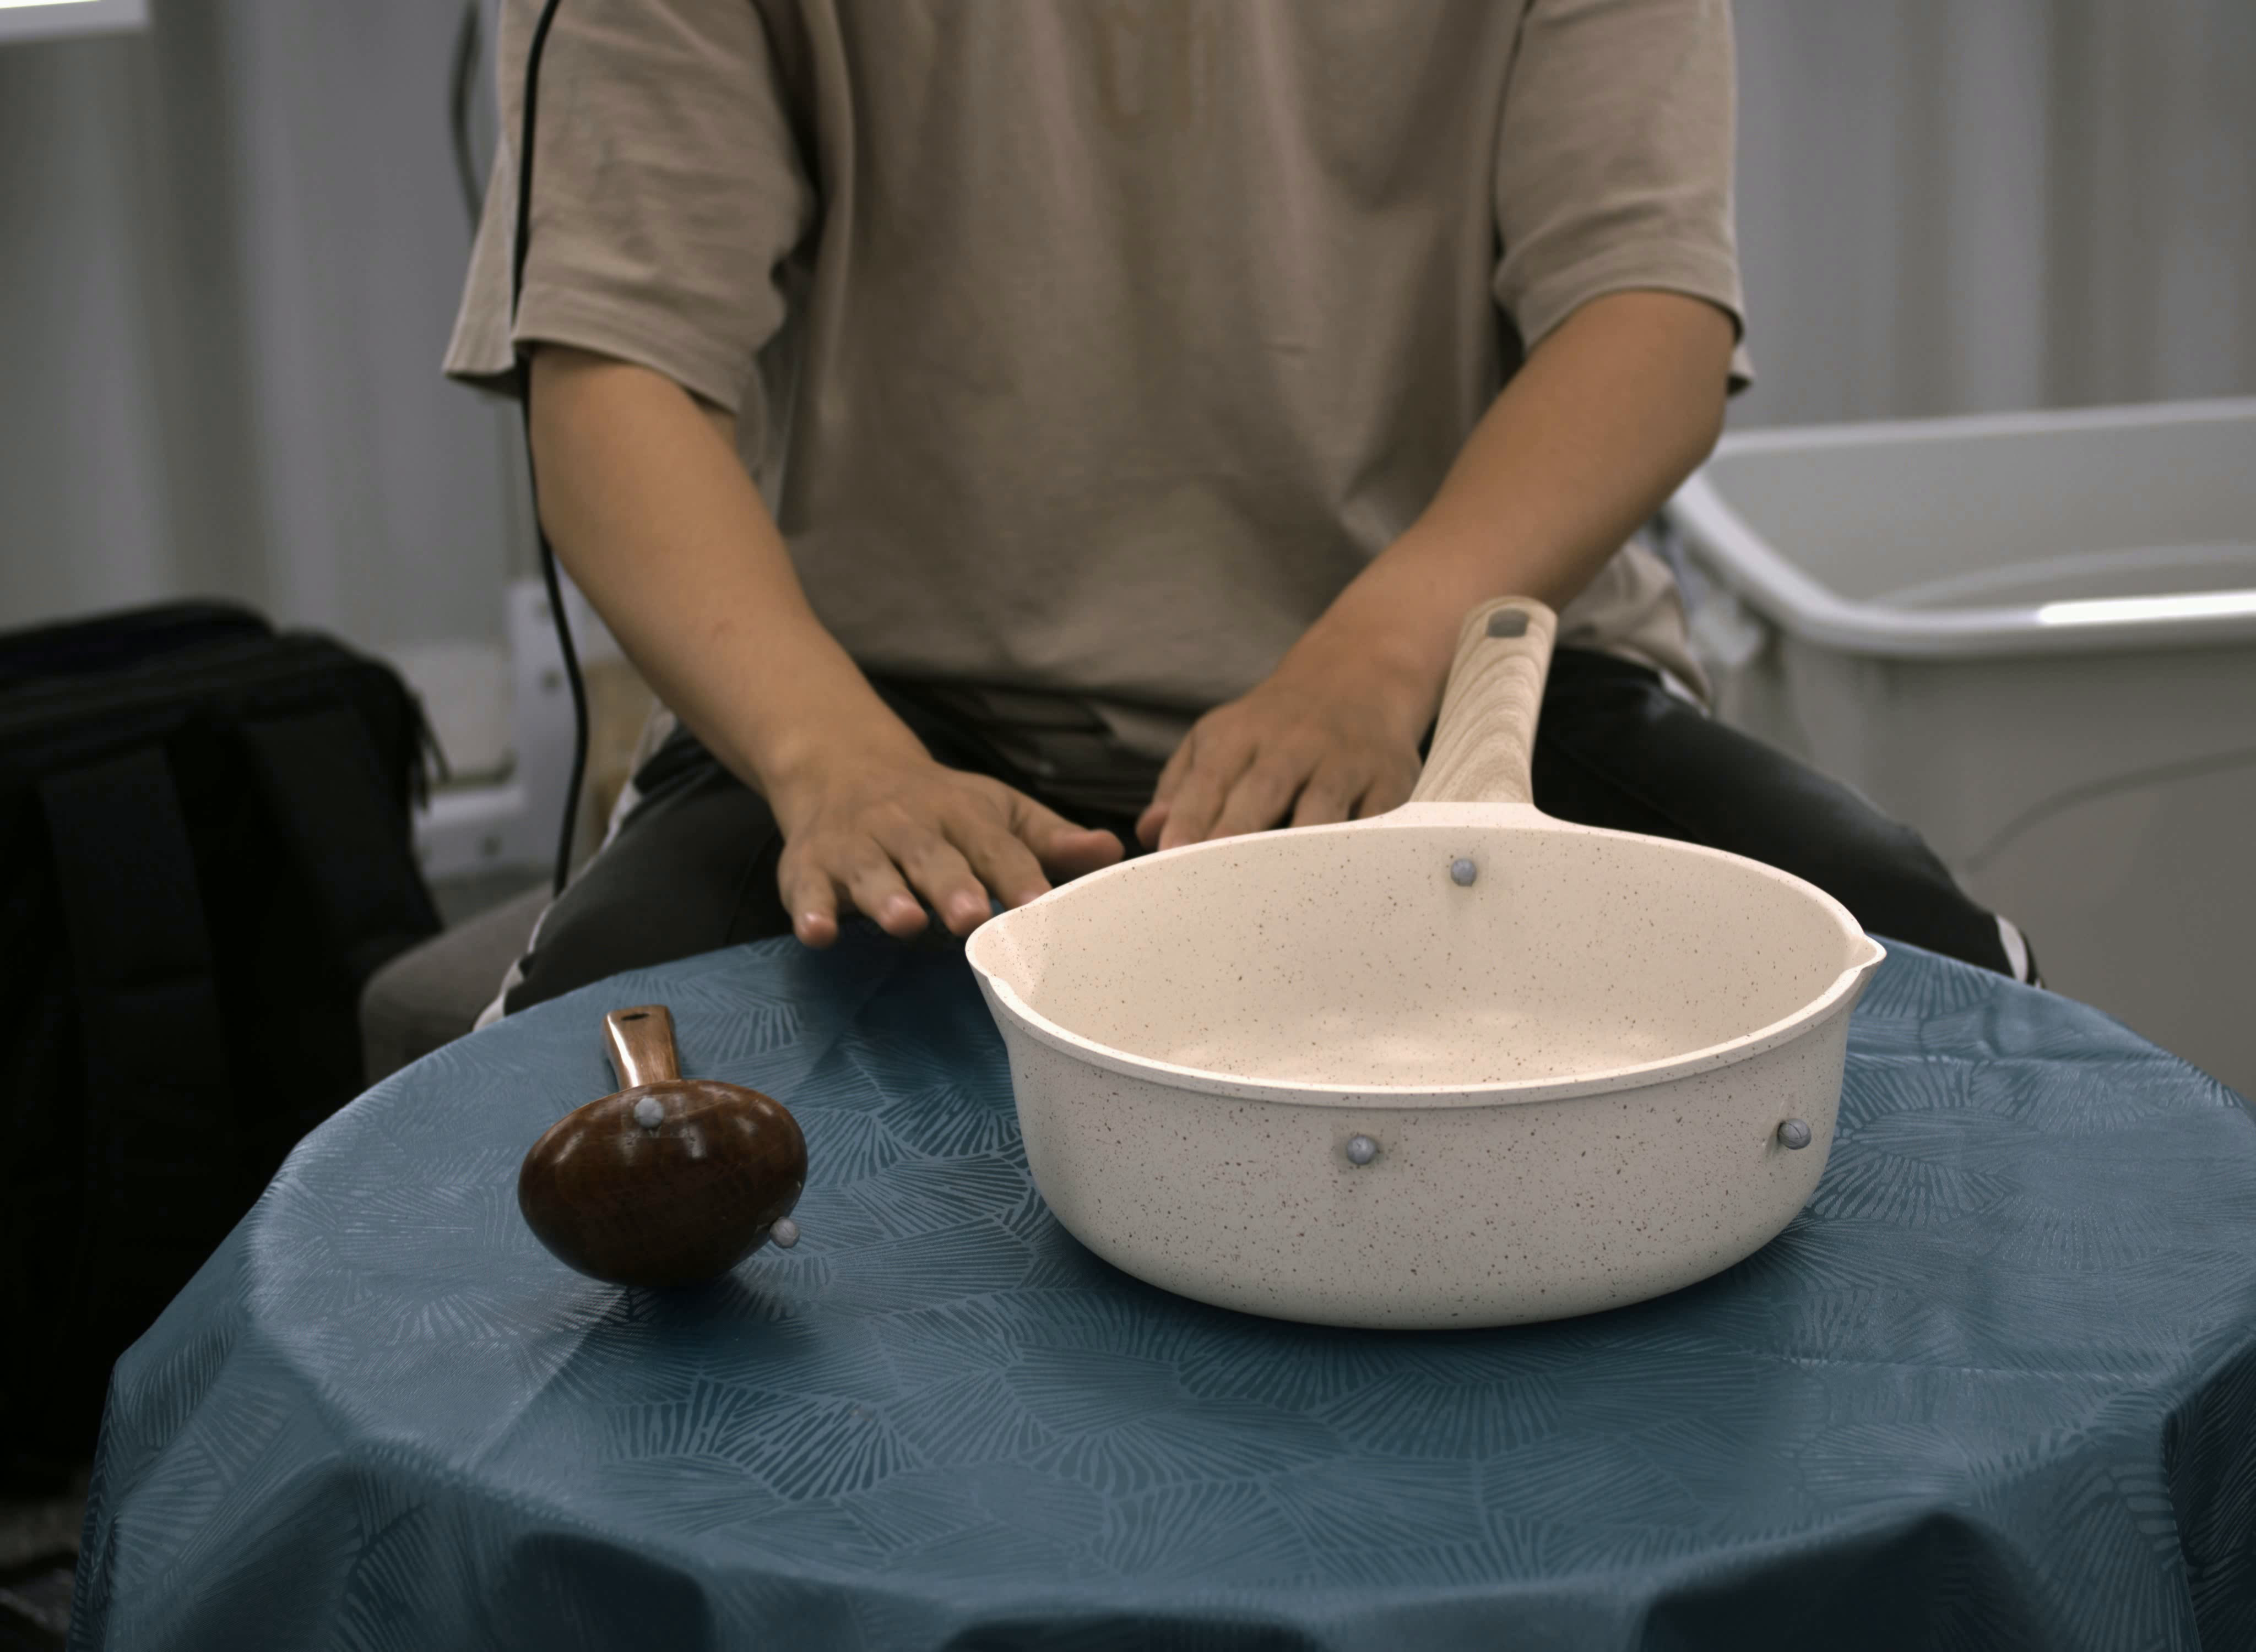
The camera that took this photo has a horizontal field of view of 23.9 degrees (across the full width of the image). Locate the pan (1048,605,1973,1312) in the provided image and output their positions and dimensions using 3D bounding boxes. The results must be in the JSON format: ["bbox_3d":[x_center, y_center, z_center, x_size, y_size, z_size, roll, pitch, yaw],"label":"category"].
[{"bbox_3d":[0.122,0.035,1.600,0.264,0.102,0.433,-1,16,9],"label":"pan"}]

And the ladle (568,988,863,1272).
[{"bbox_3d":[-0.124,0.065,1.568,0.081,0.076,0.276,-6,17,-4],"label":"ladle"}]
